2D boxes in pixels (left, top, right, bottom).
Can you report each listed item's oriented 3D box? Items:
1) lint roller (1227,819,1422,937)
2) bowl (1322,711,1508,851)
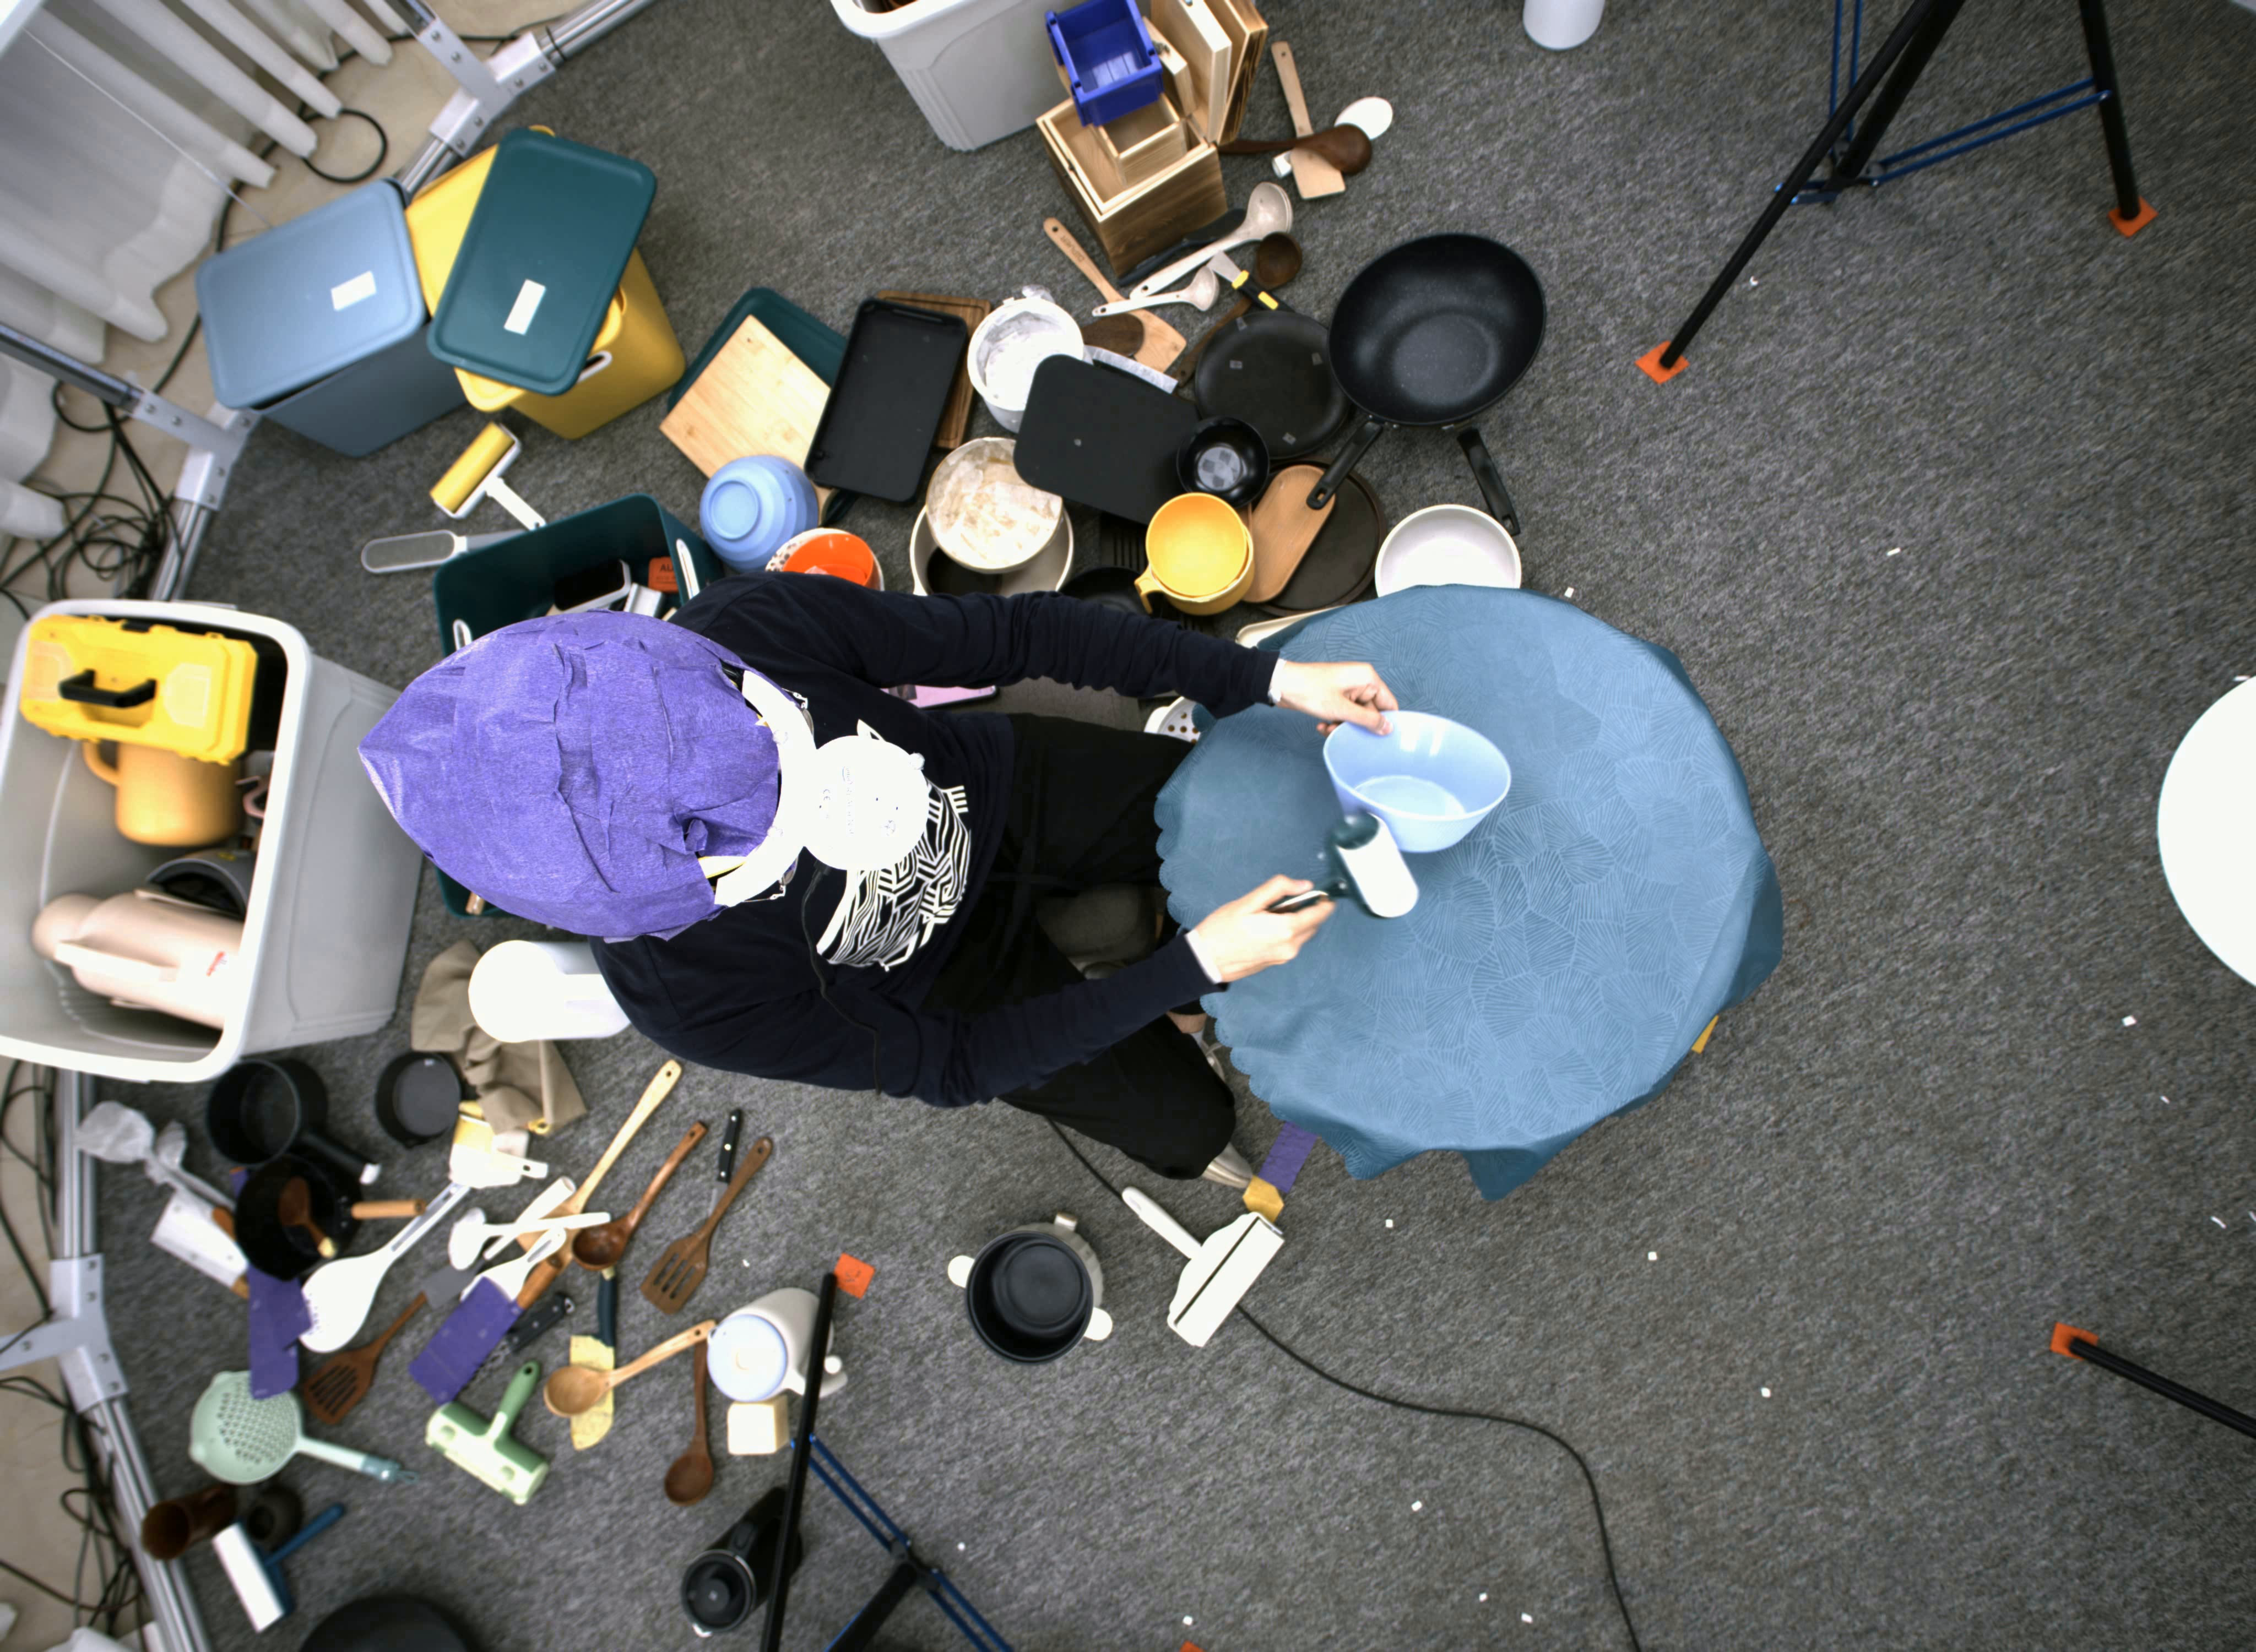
[{"bbox_3d":[0.177,0.071,1.288,0.181,0.136,0.047,-29,45,10],"label":"lint roller"},{"bbox_3d":[0.269,-0.037,1.315,0.176,0.171,0.072,12,129,11],"label":"bowl"}]
